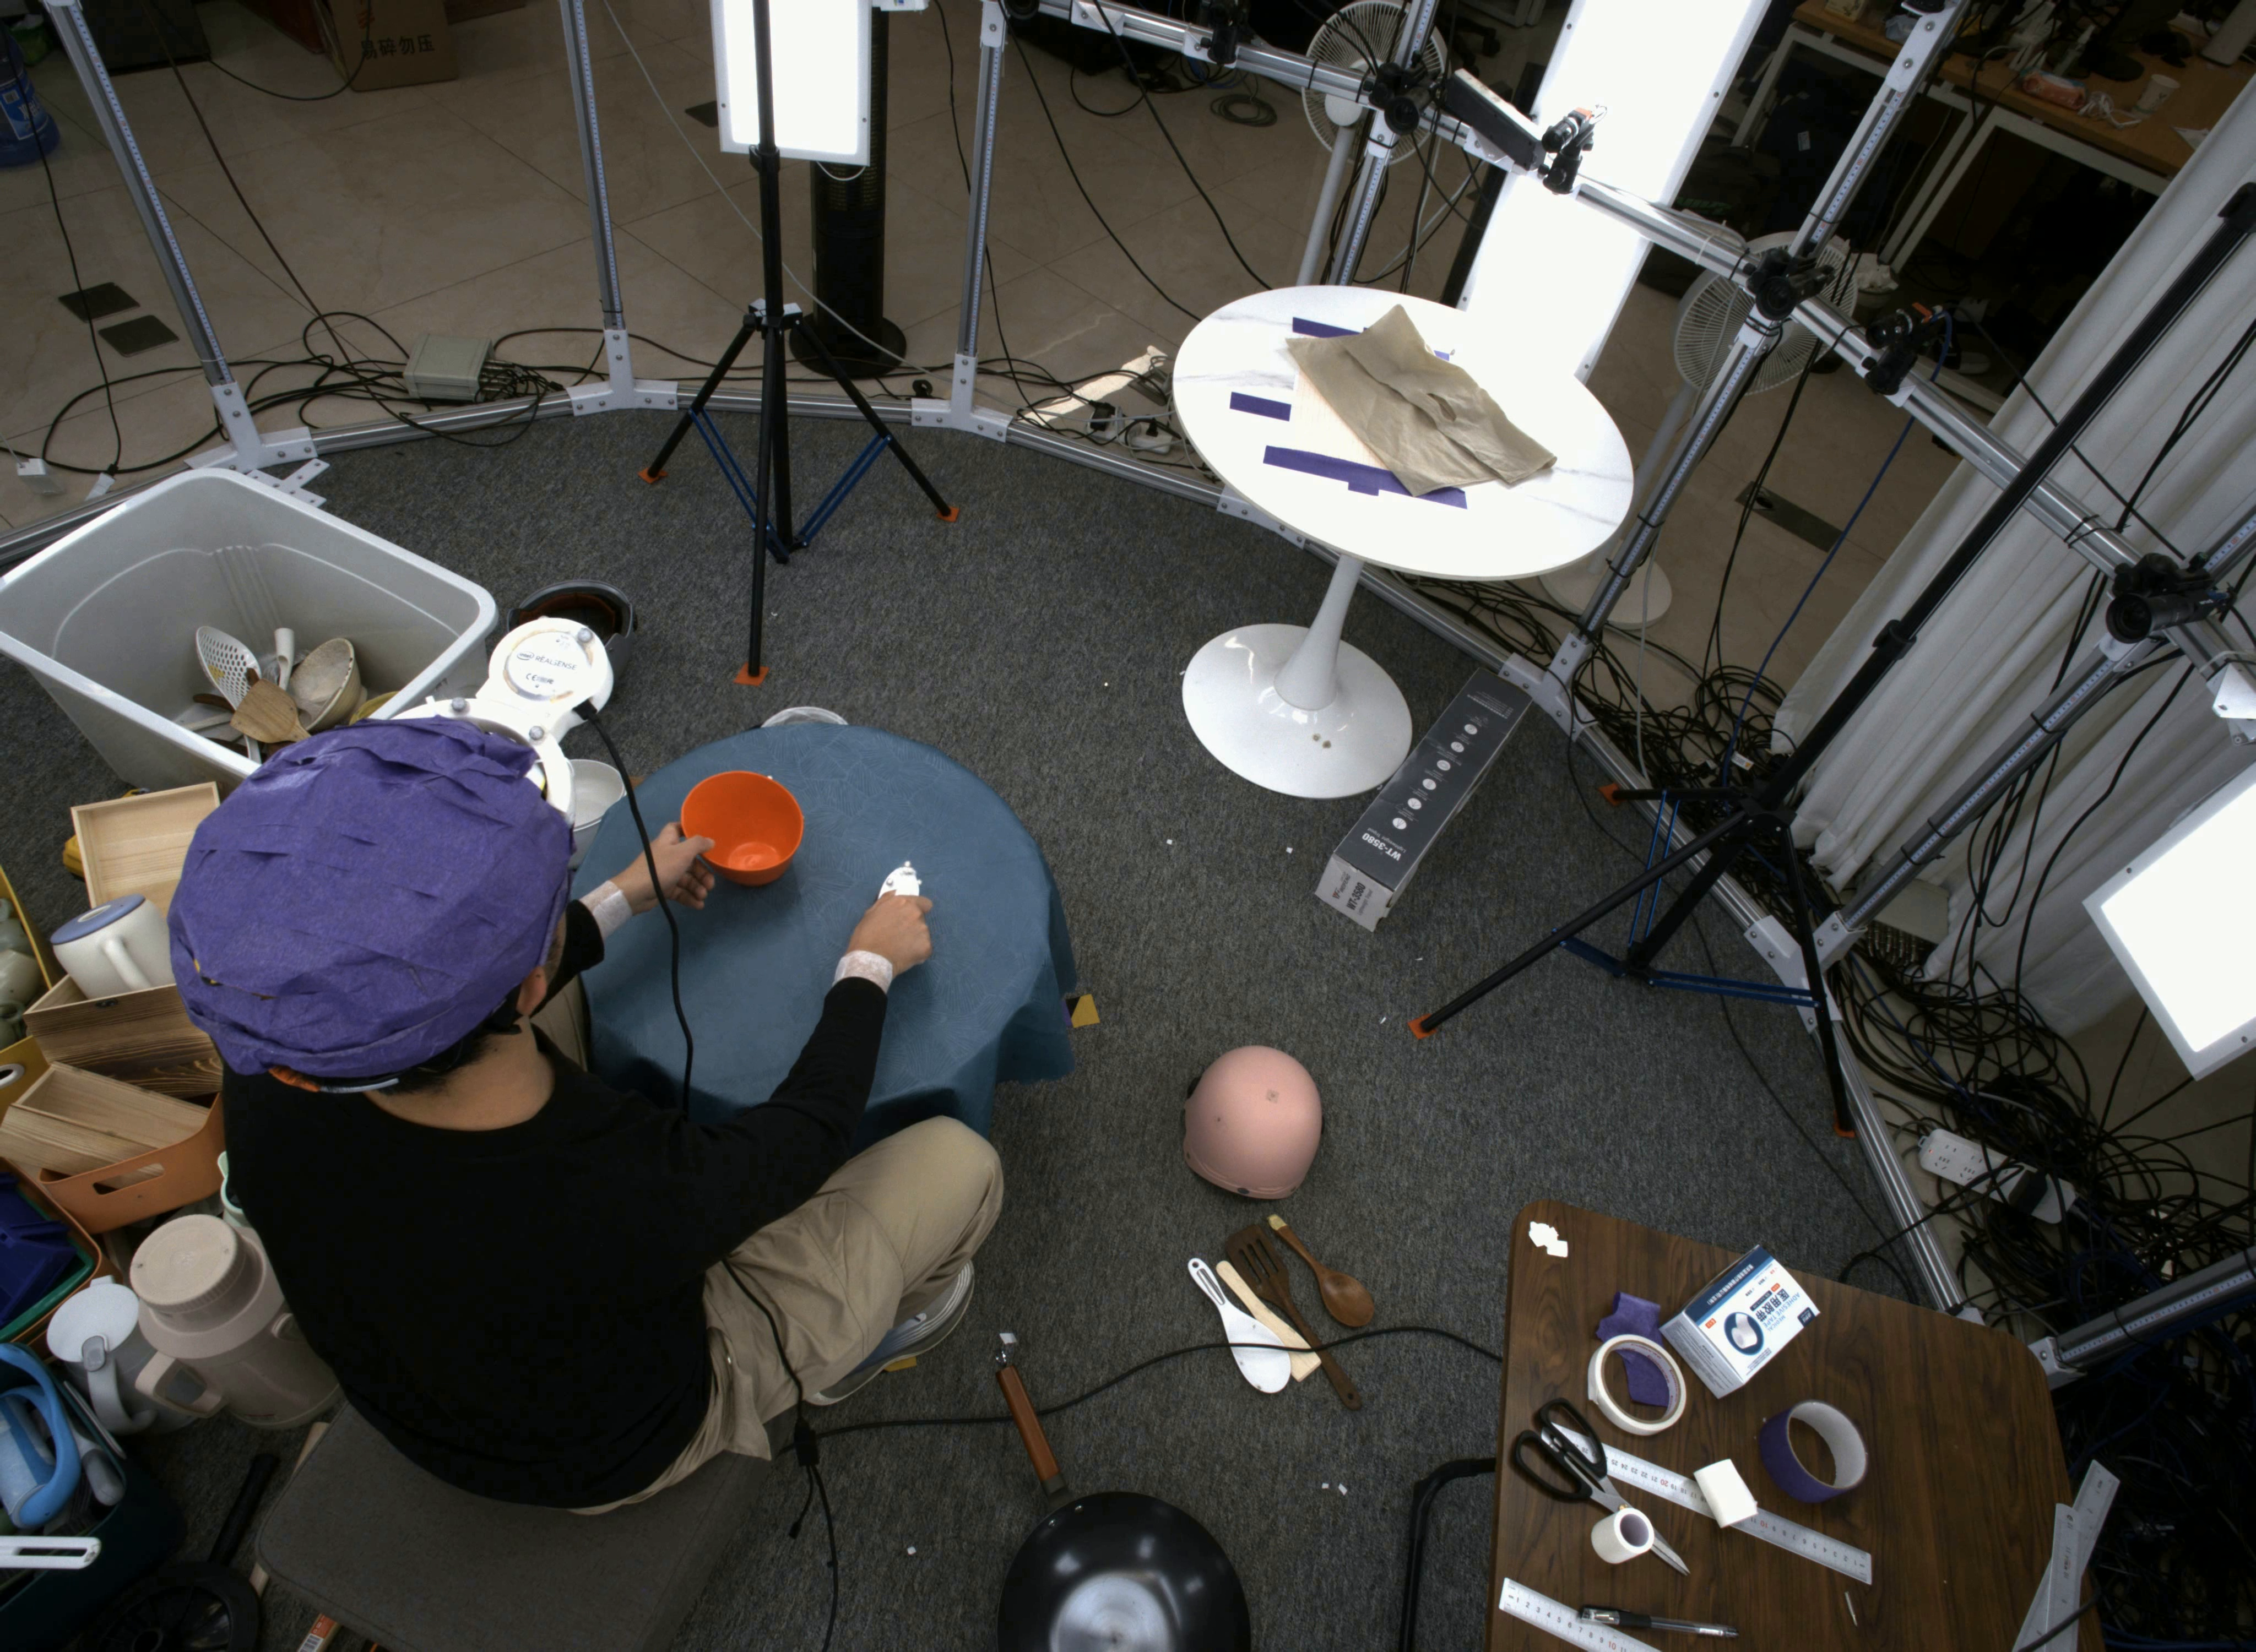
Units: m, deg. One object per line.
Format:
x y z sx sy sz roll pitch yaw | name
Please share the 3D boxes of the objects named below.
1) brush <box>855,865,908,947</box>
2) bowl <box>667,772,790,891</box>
-0.301 0.091 1.623 0.051 0.073 0.097 25 44 -16 | brush
-0.497 0.019 1.622 0.148 0.107 0.145 8 53 -9 | bowl
